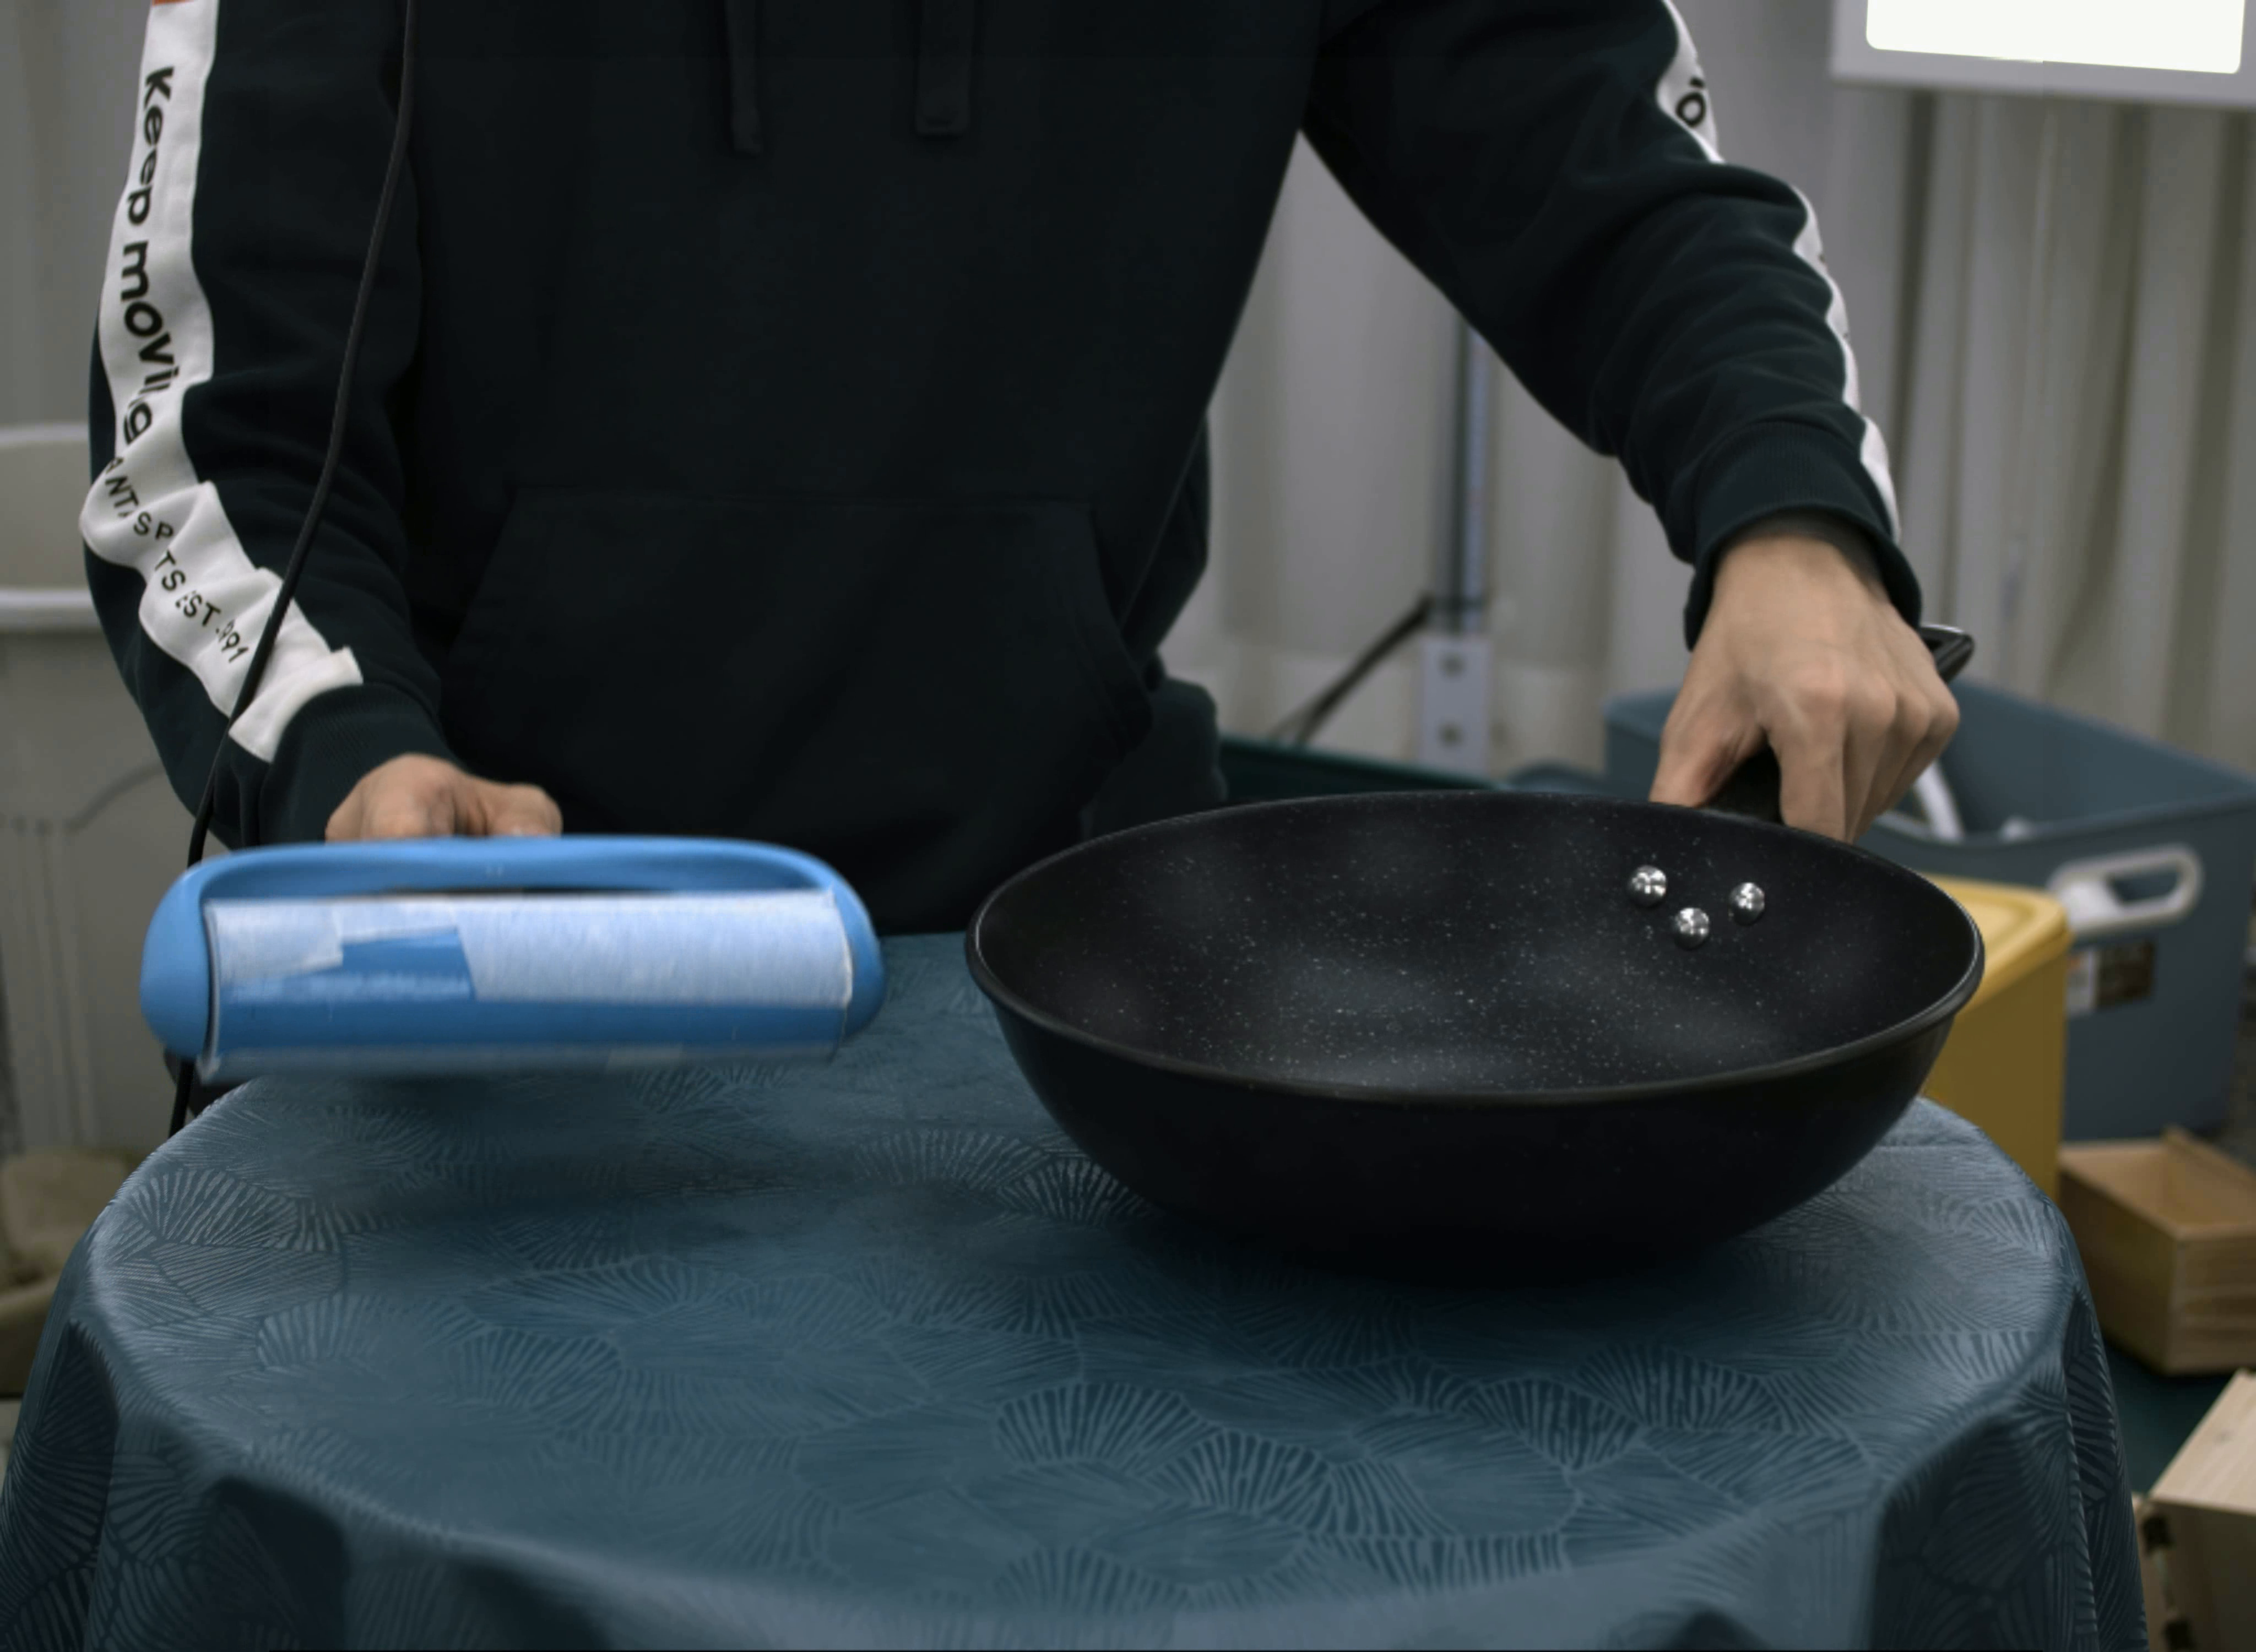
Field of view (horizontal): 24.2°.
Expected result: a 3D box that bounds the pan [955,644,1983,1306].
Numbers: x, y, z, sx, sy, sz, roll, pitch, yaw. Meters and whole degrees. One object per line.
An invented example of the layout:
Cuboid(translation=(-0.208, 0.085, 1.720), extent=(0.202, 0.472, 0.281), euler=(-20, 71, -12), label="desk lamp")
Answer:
Cuboid(translation=(0.149, 0.045, 1.663), extent=(0.306, 0.112, 0.478), euler=(12, 20, 32), label="pan")

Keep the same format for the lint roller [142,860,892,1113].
Cuboid(translation=(-0.203, 0.041, 1.633), extent=(0.230, 0.068, 0.178), euler=(-4, 14, -22), label="lint roller")
